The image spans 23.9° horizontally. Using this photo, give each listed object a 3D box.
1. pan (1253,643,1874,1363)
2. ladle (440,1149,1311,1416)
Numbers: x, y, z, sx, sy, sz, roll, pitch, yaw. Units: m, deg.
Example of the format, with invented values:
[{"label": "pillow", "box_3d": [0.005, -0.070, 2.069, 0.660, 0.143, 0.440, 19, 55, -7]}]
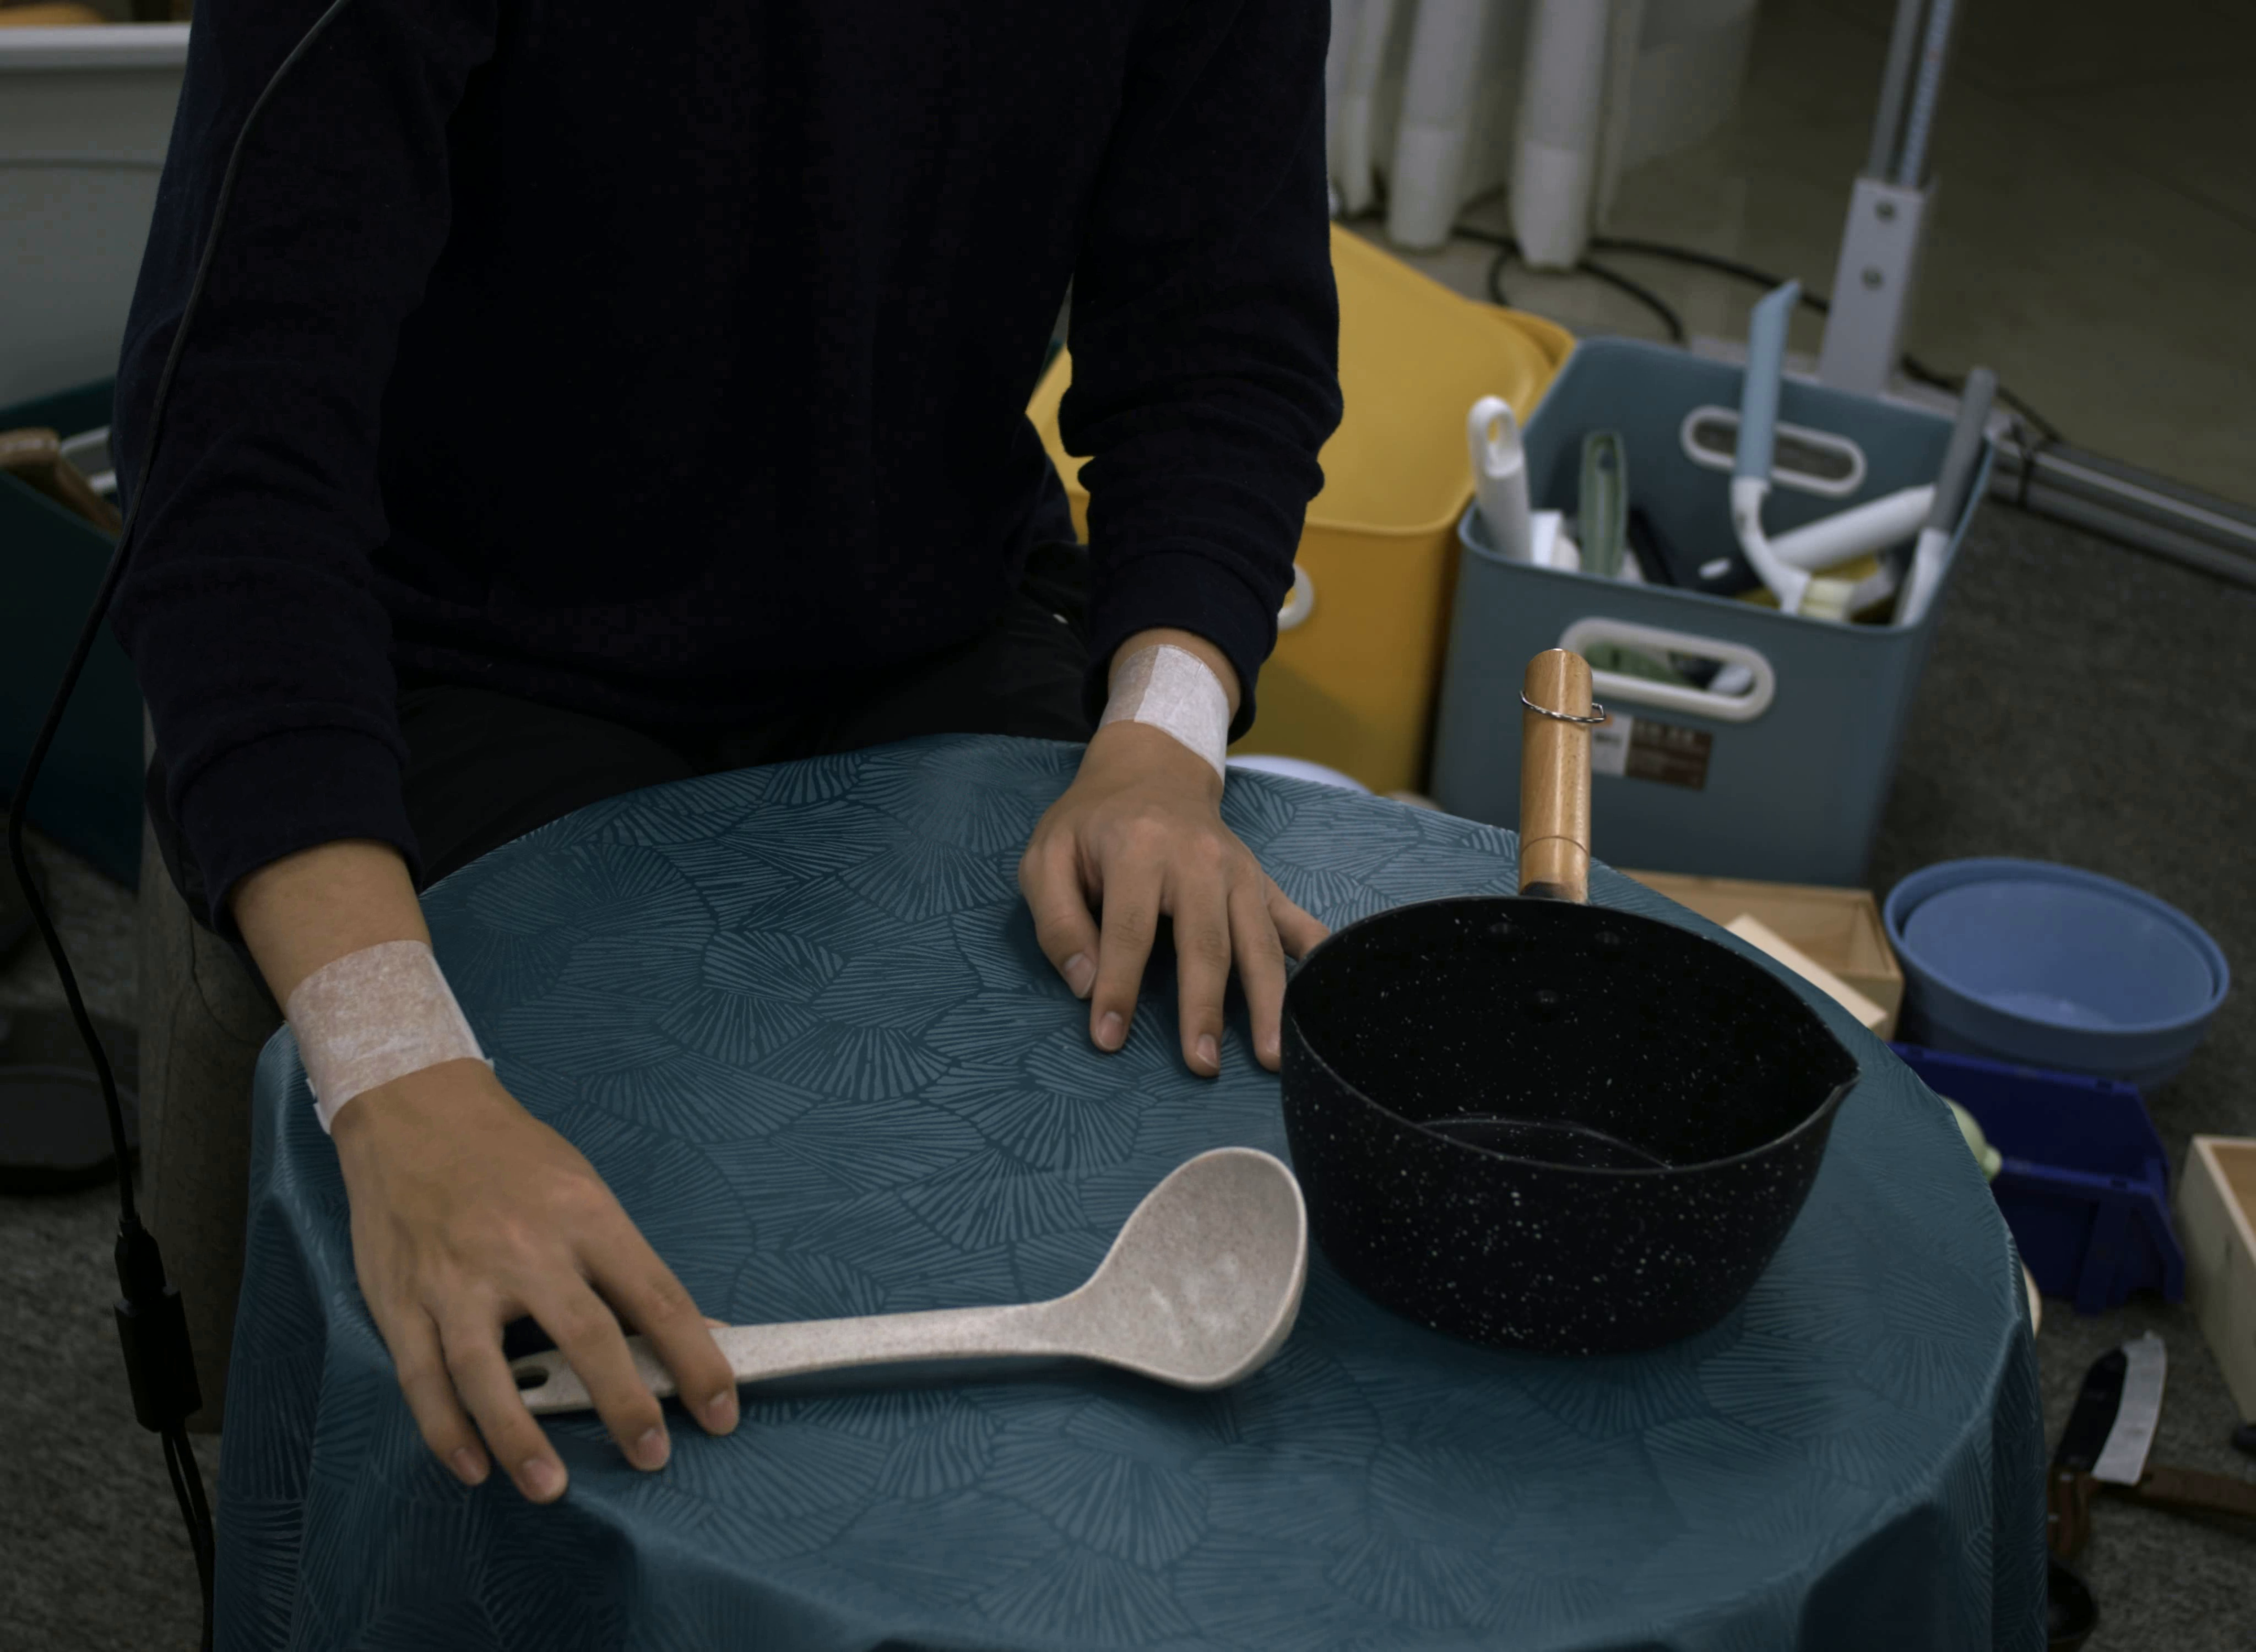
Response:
[{"label": "pan", "box_3d": [0.145, 0.057, 1.847, 0.207, 0.108, 0.345, 5, 28, 0]}, {"label": "ladle", "box_3d": [-0.076, 0.147, 1.663, 0.273, 0.069, 0.090, -2, 43, -18]}]
